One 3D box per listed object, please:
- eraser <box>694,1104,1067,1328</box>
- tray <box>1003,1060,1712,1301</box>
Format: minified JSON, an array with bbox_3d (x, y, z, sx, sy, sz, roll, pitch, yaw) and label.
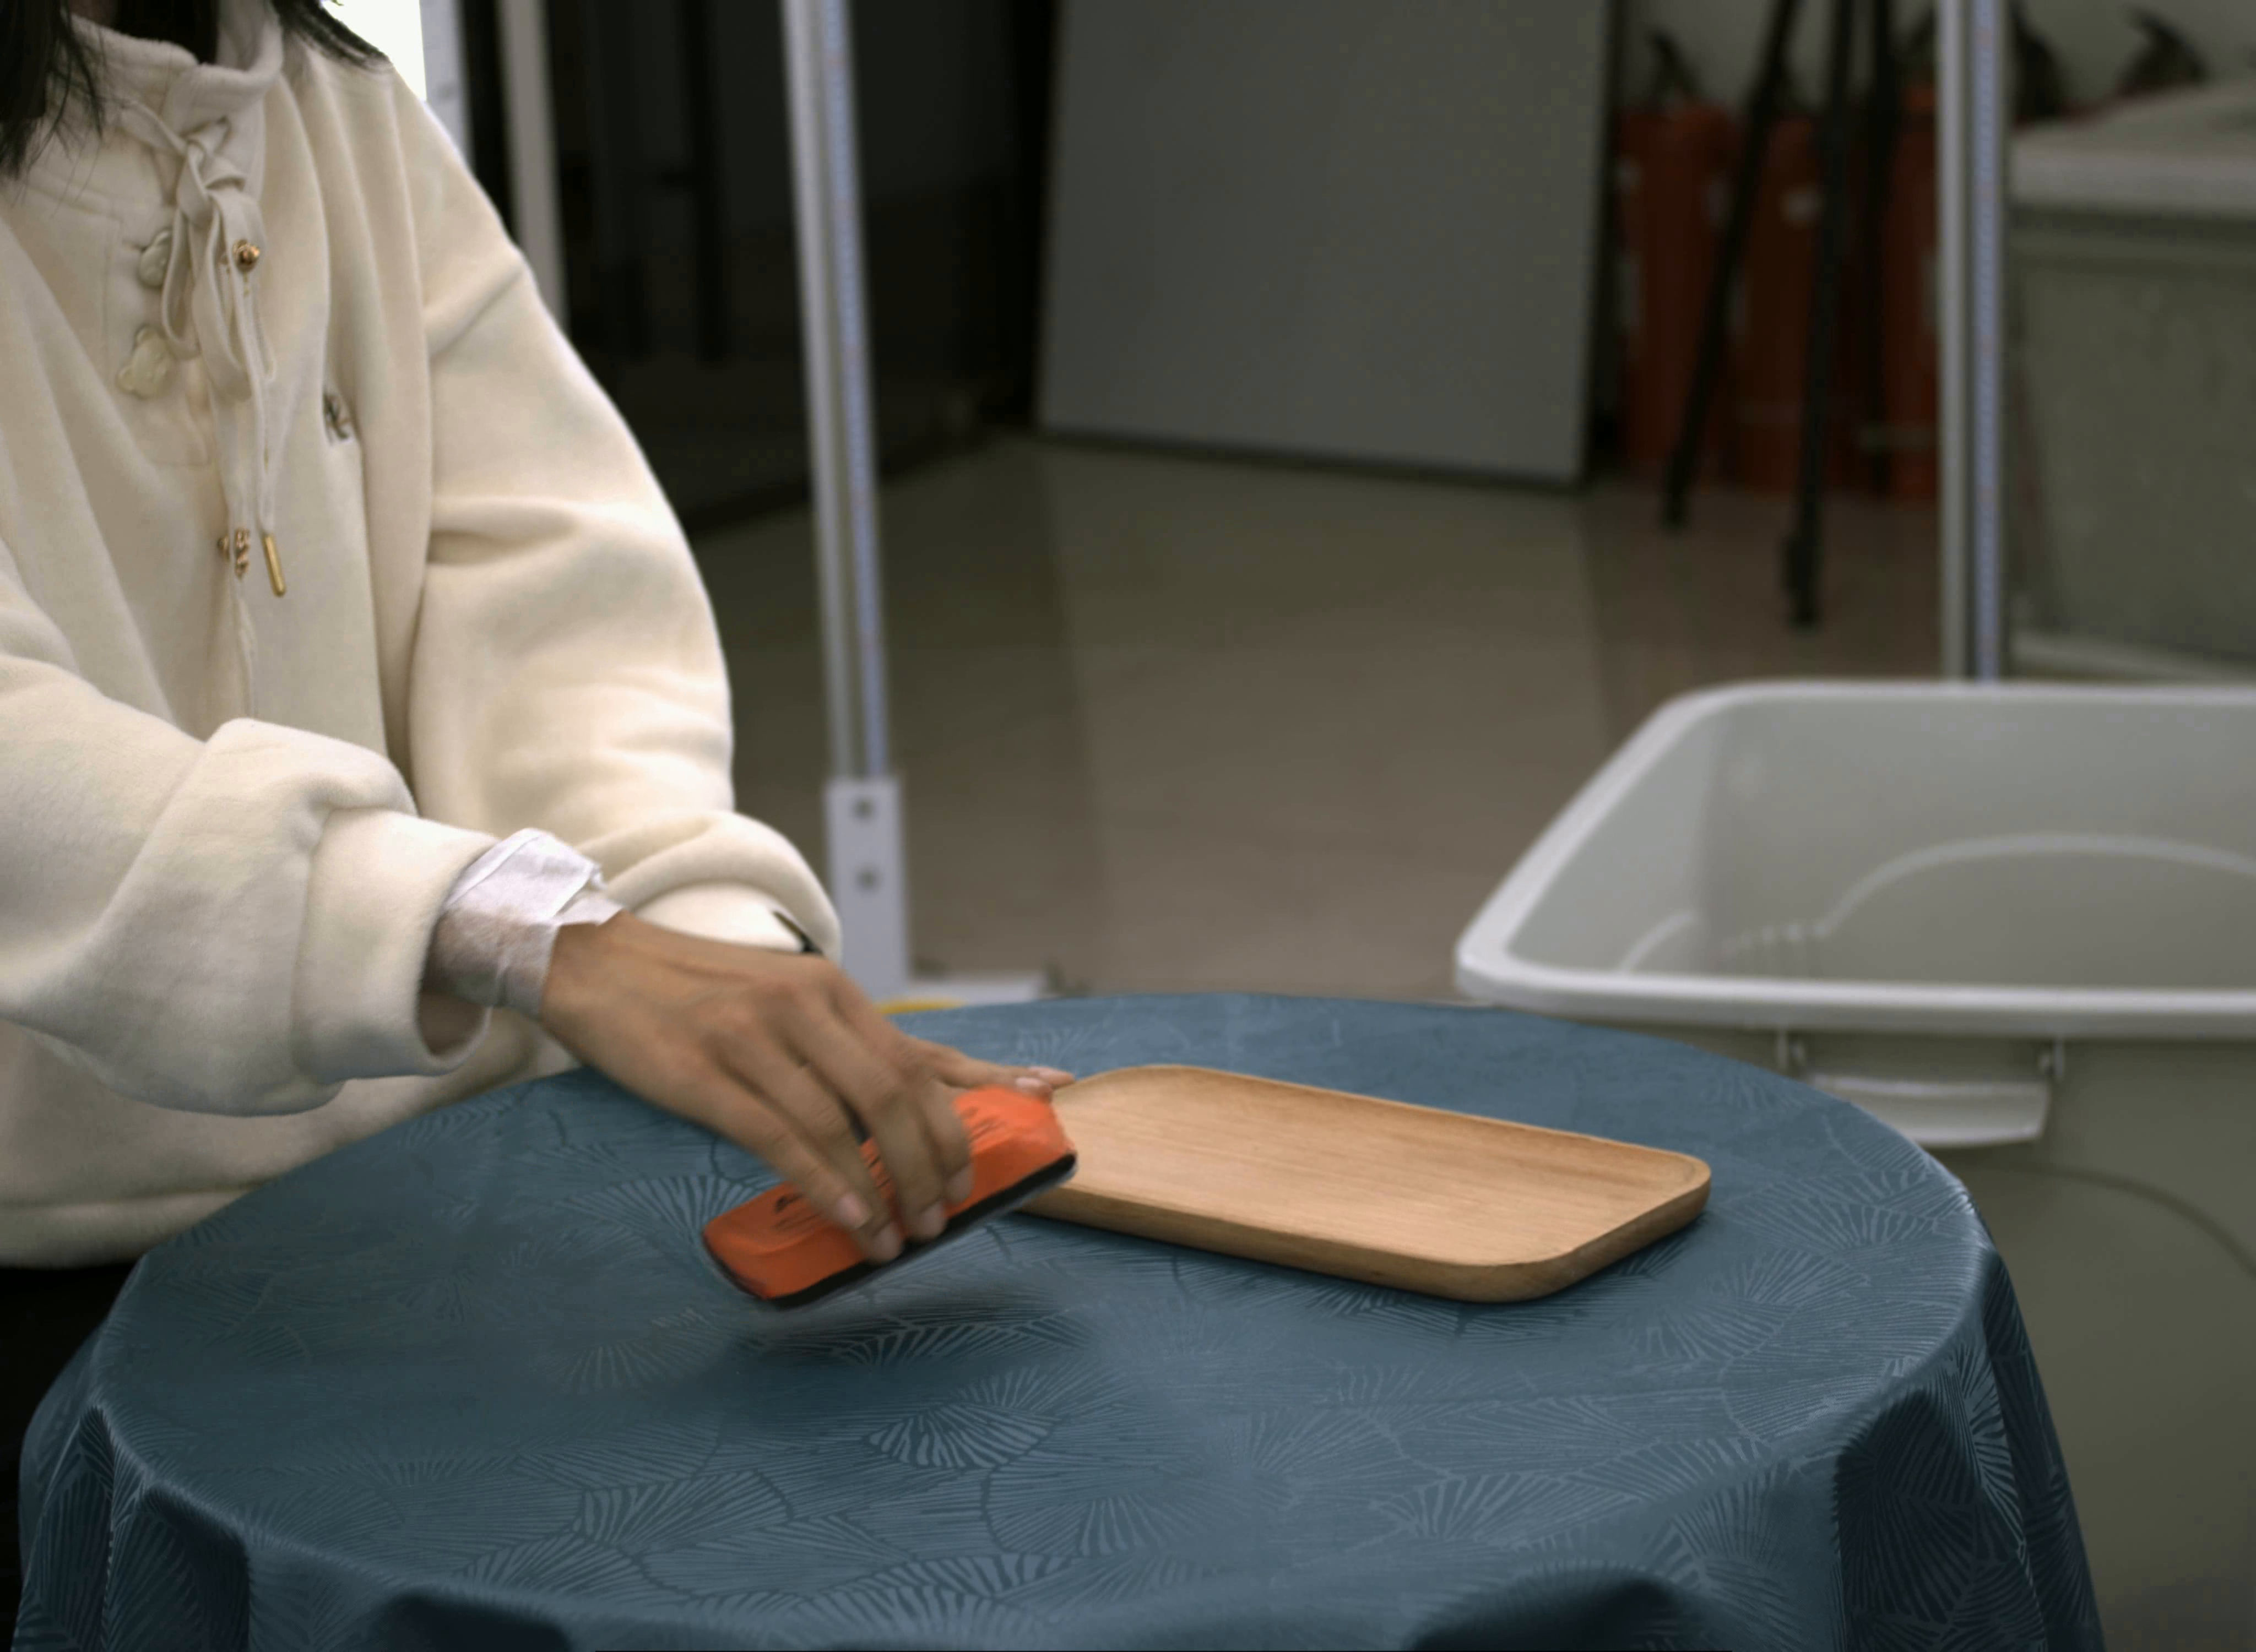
[{"bbox_3d":[-0.075,0.118,1.646,0.106,0.023,0.059,-25,15,-20],"label":"eraser"},{"bbox_3d":[0.062,0.113,1.745,0.253,0.023,0.128,8,15,41],"label":"tray"}]
